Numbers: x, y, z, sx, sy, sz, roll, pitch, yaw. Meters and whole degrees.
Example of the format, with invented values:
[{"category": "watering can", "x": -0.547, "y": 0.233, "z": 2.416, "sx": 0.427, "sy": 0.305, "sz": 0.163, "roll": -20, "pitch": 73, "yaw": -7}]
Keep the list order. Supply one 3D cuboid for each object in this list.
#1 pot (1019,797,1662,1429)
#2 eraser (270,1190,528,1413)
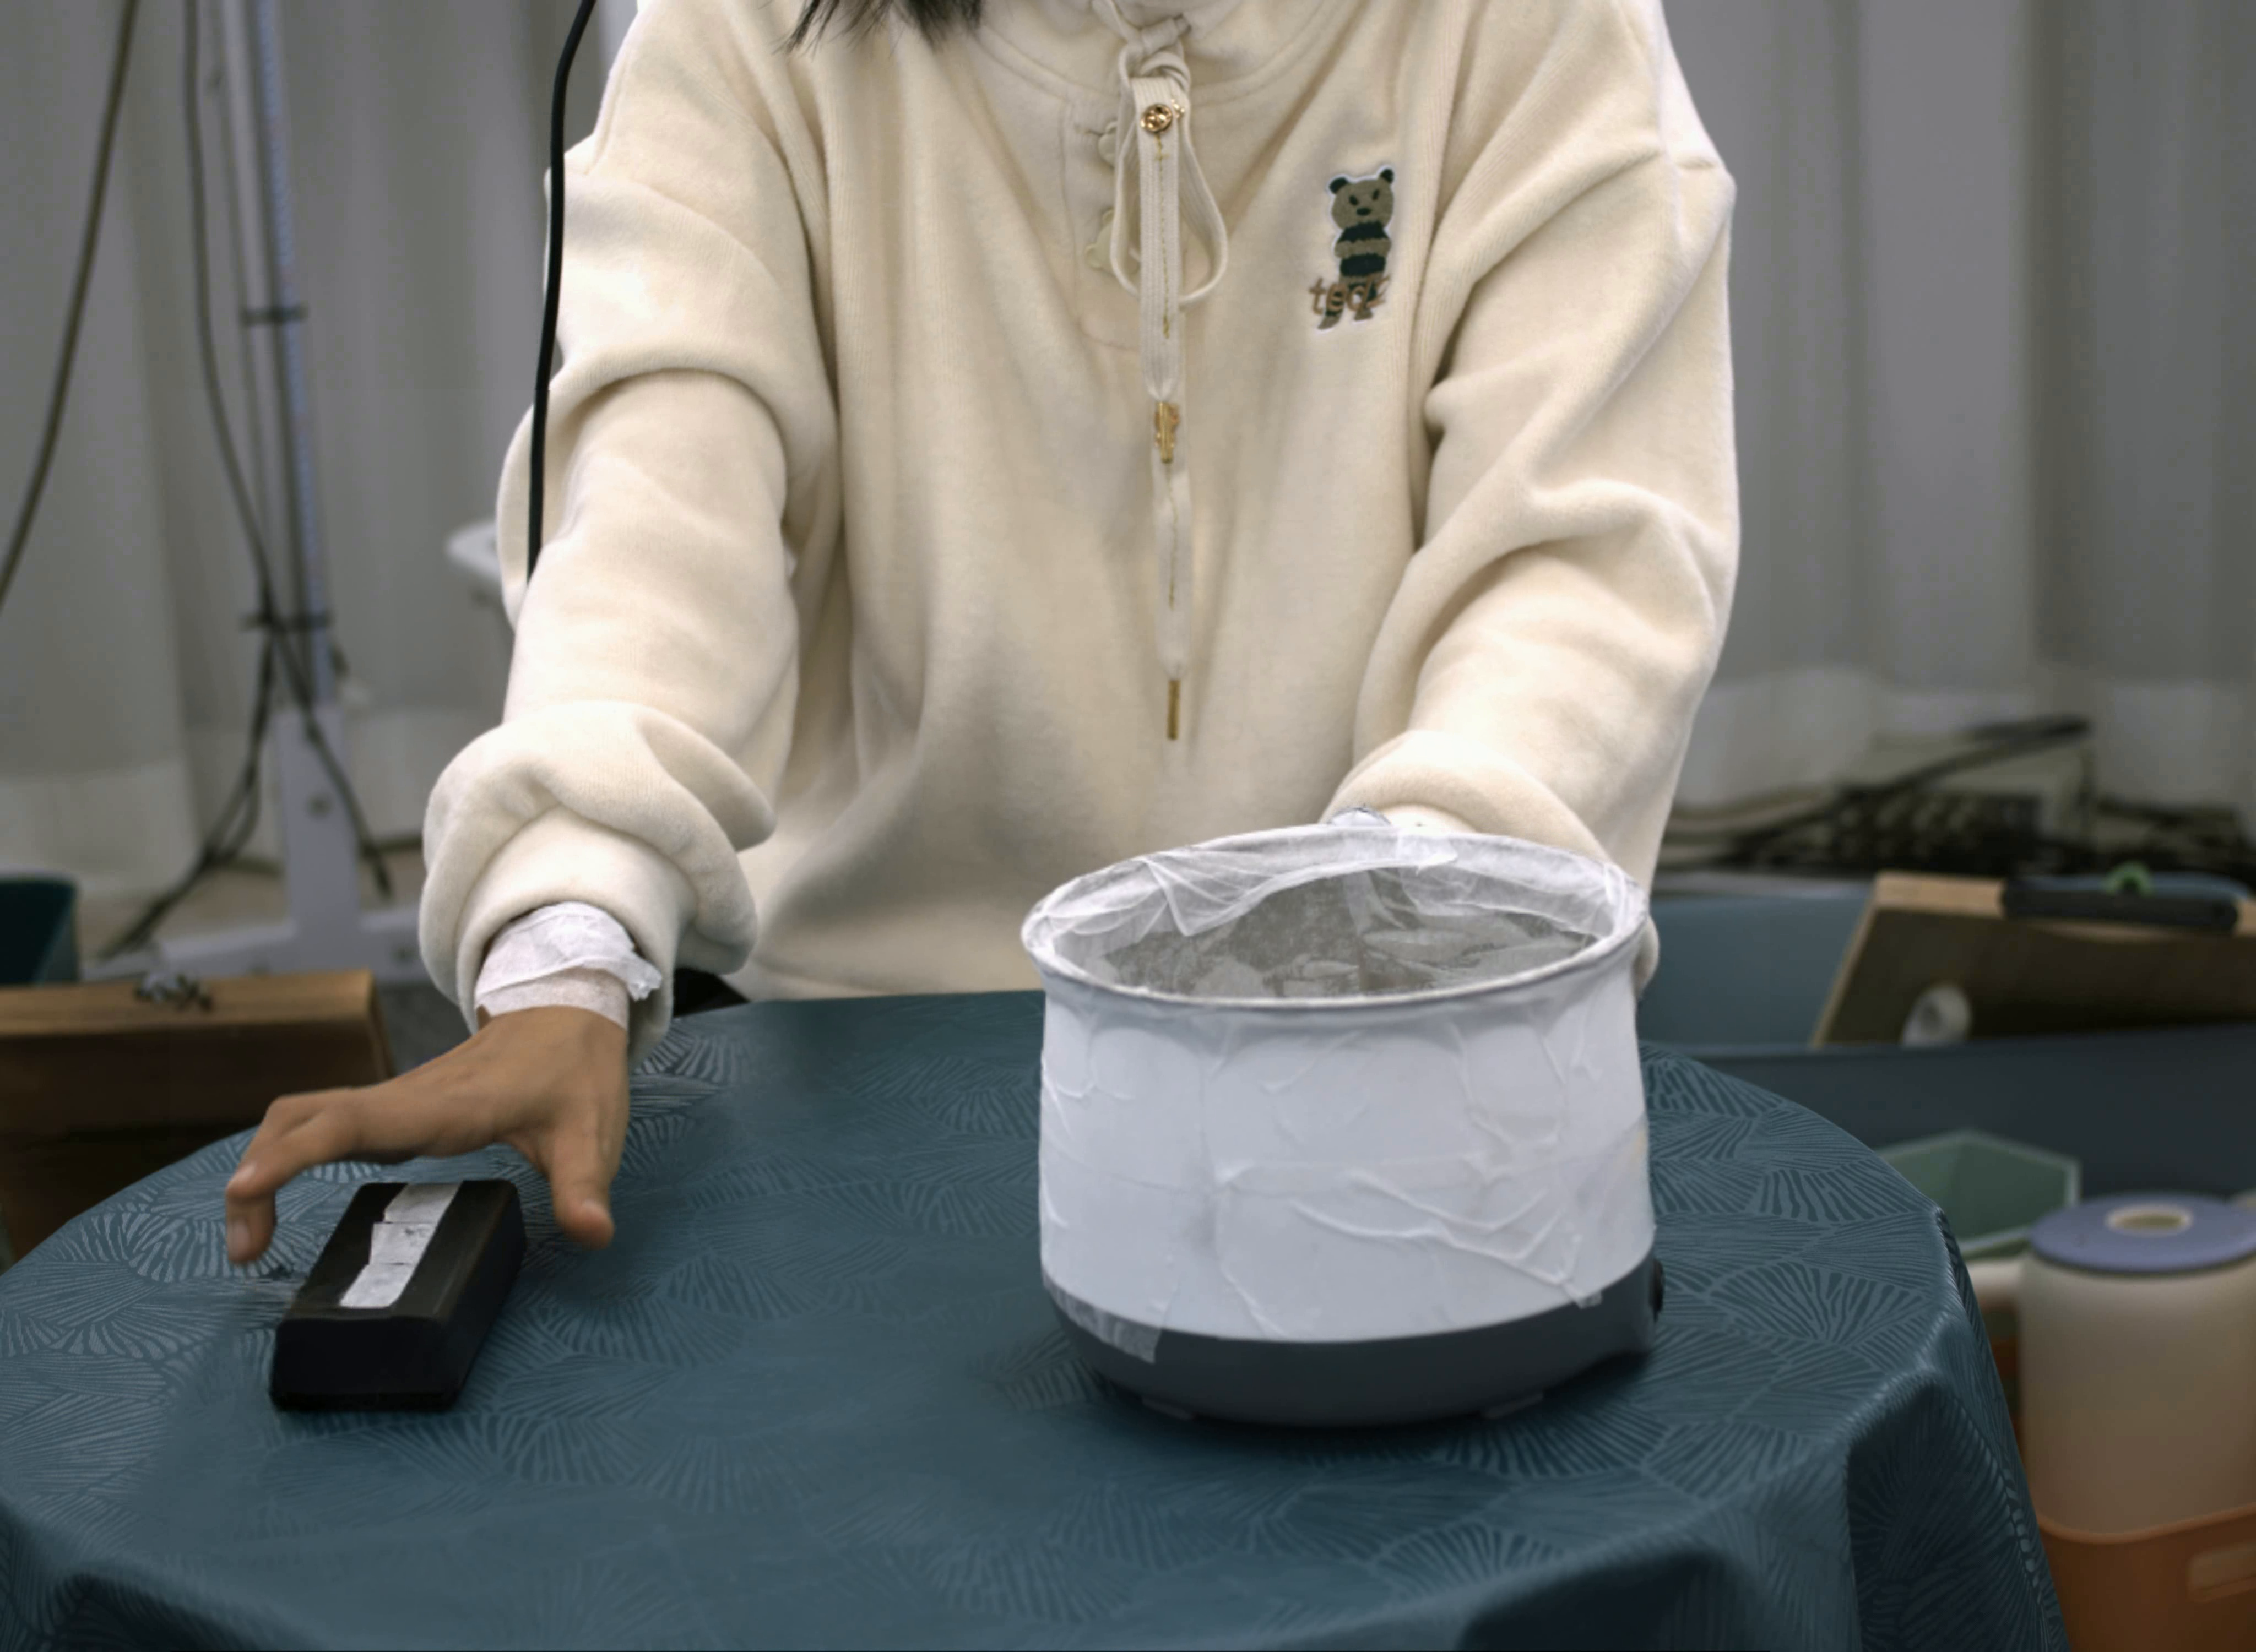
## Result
[{"category": "pot", "x": 0.063, "y": 0.077, "z": 1.576, "sx": 0.178, "sy": 0.136, "sz": 0.235, "roll": -1, "pitch": 15, "yaw": 5}, {"category": "eraser", "x": -0.213, "y": 0.139, "z": 1.612, "sx": 0.053, "sy": 0.030, "sz": 0.126, "roll": -1, "pitch": 14, "yaw": 4}]
